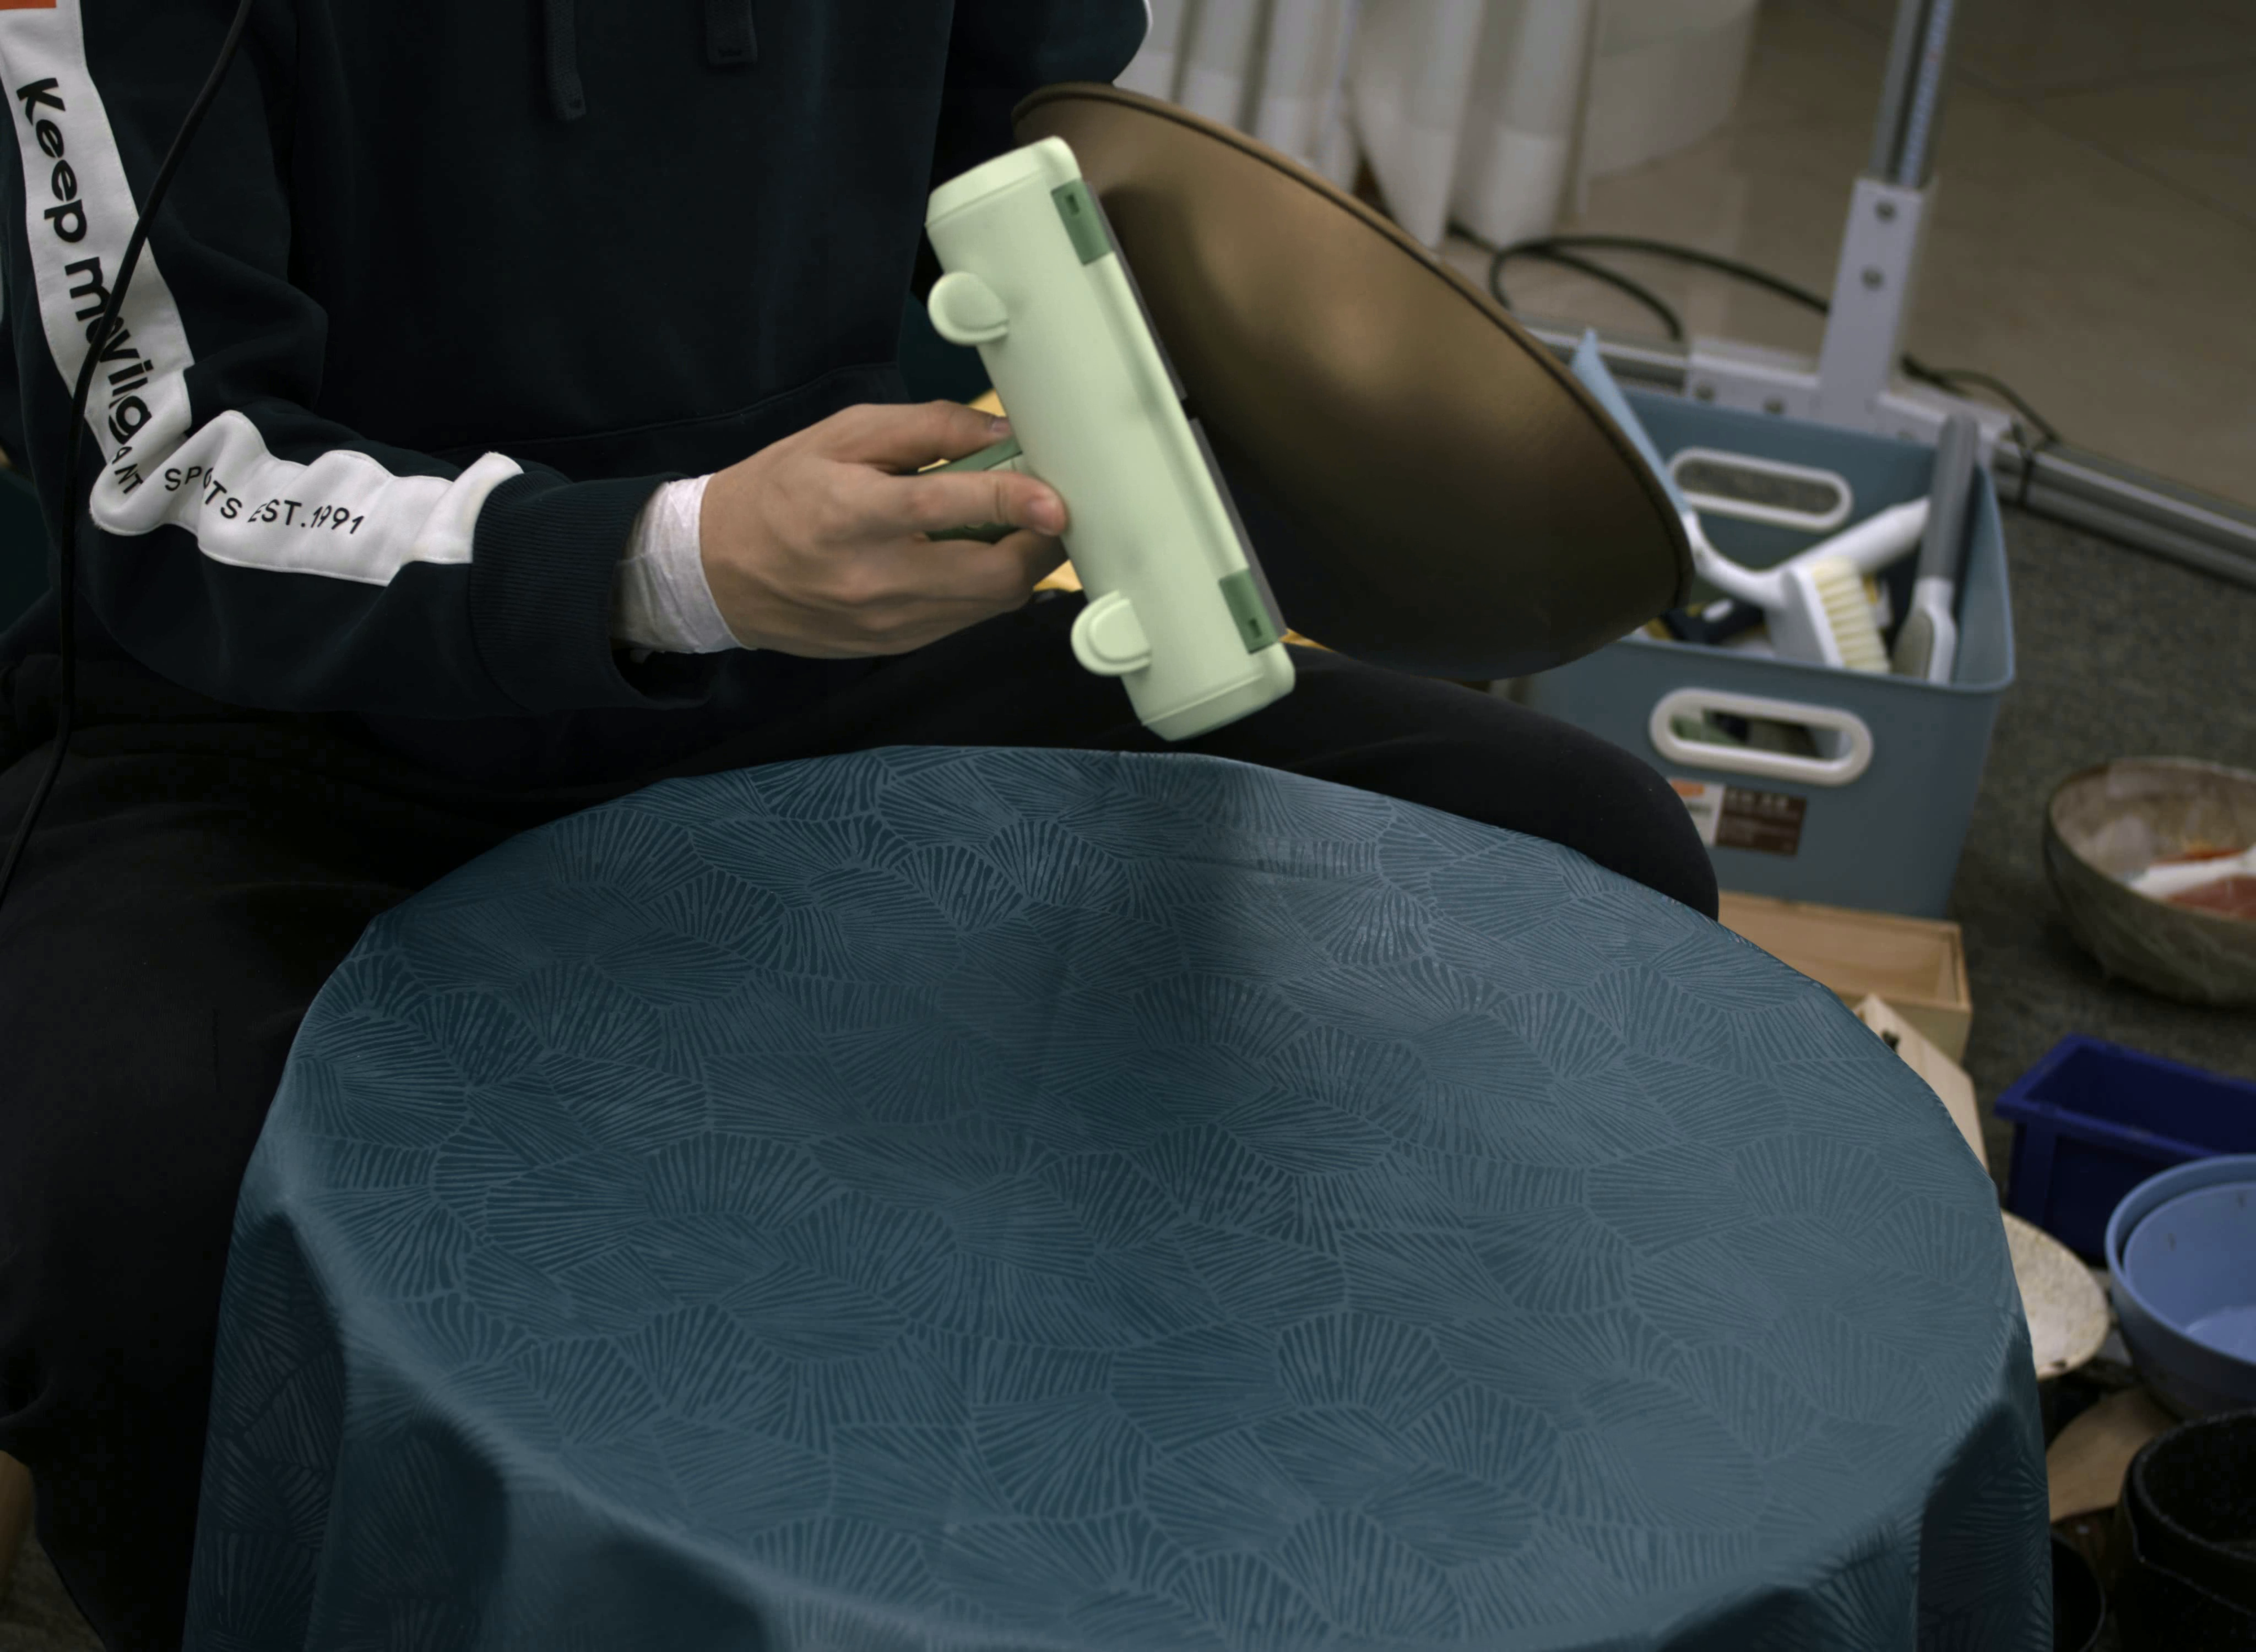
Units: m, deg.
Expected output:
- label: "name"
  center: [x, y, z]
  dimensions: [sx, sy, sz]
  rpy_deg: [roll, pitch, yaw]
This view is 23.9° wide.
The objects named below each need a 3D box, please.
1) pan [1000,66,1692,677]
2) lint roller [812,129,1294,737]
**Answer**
- label: "pan"
  center: [0.045, -0.120, 1.909]
  dimensions: [0.288, 0.087, 0.462]
  rpy_deg: [36, -12, 2]
- label: "lint roller"
  center: [-0.052, -0.107, 1.750]
  dimensions: [0.183, 0.199, 0.082]
  rpy_deg: [-23, 2, 35]
